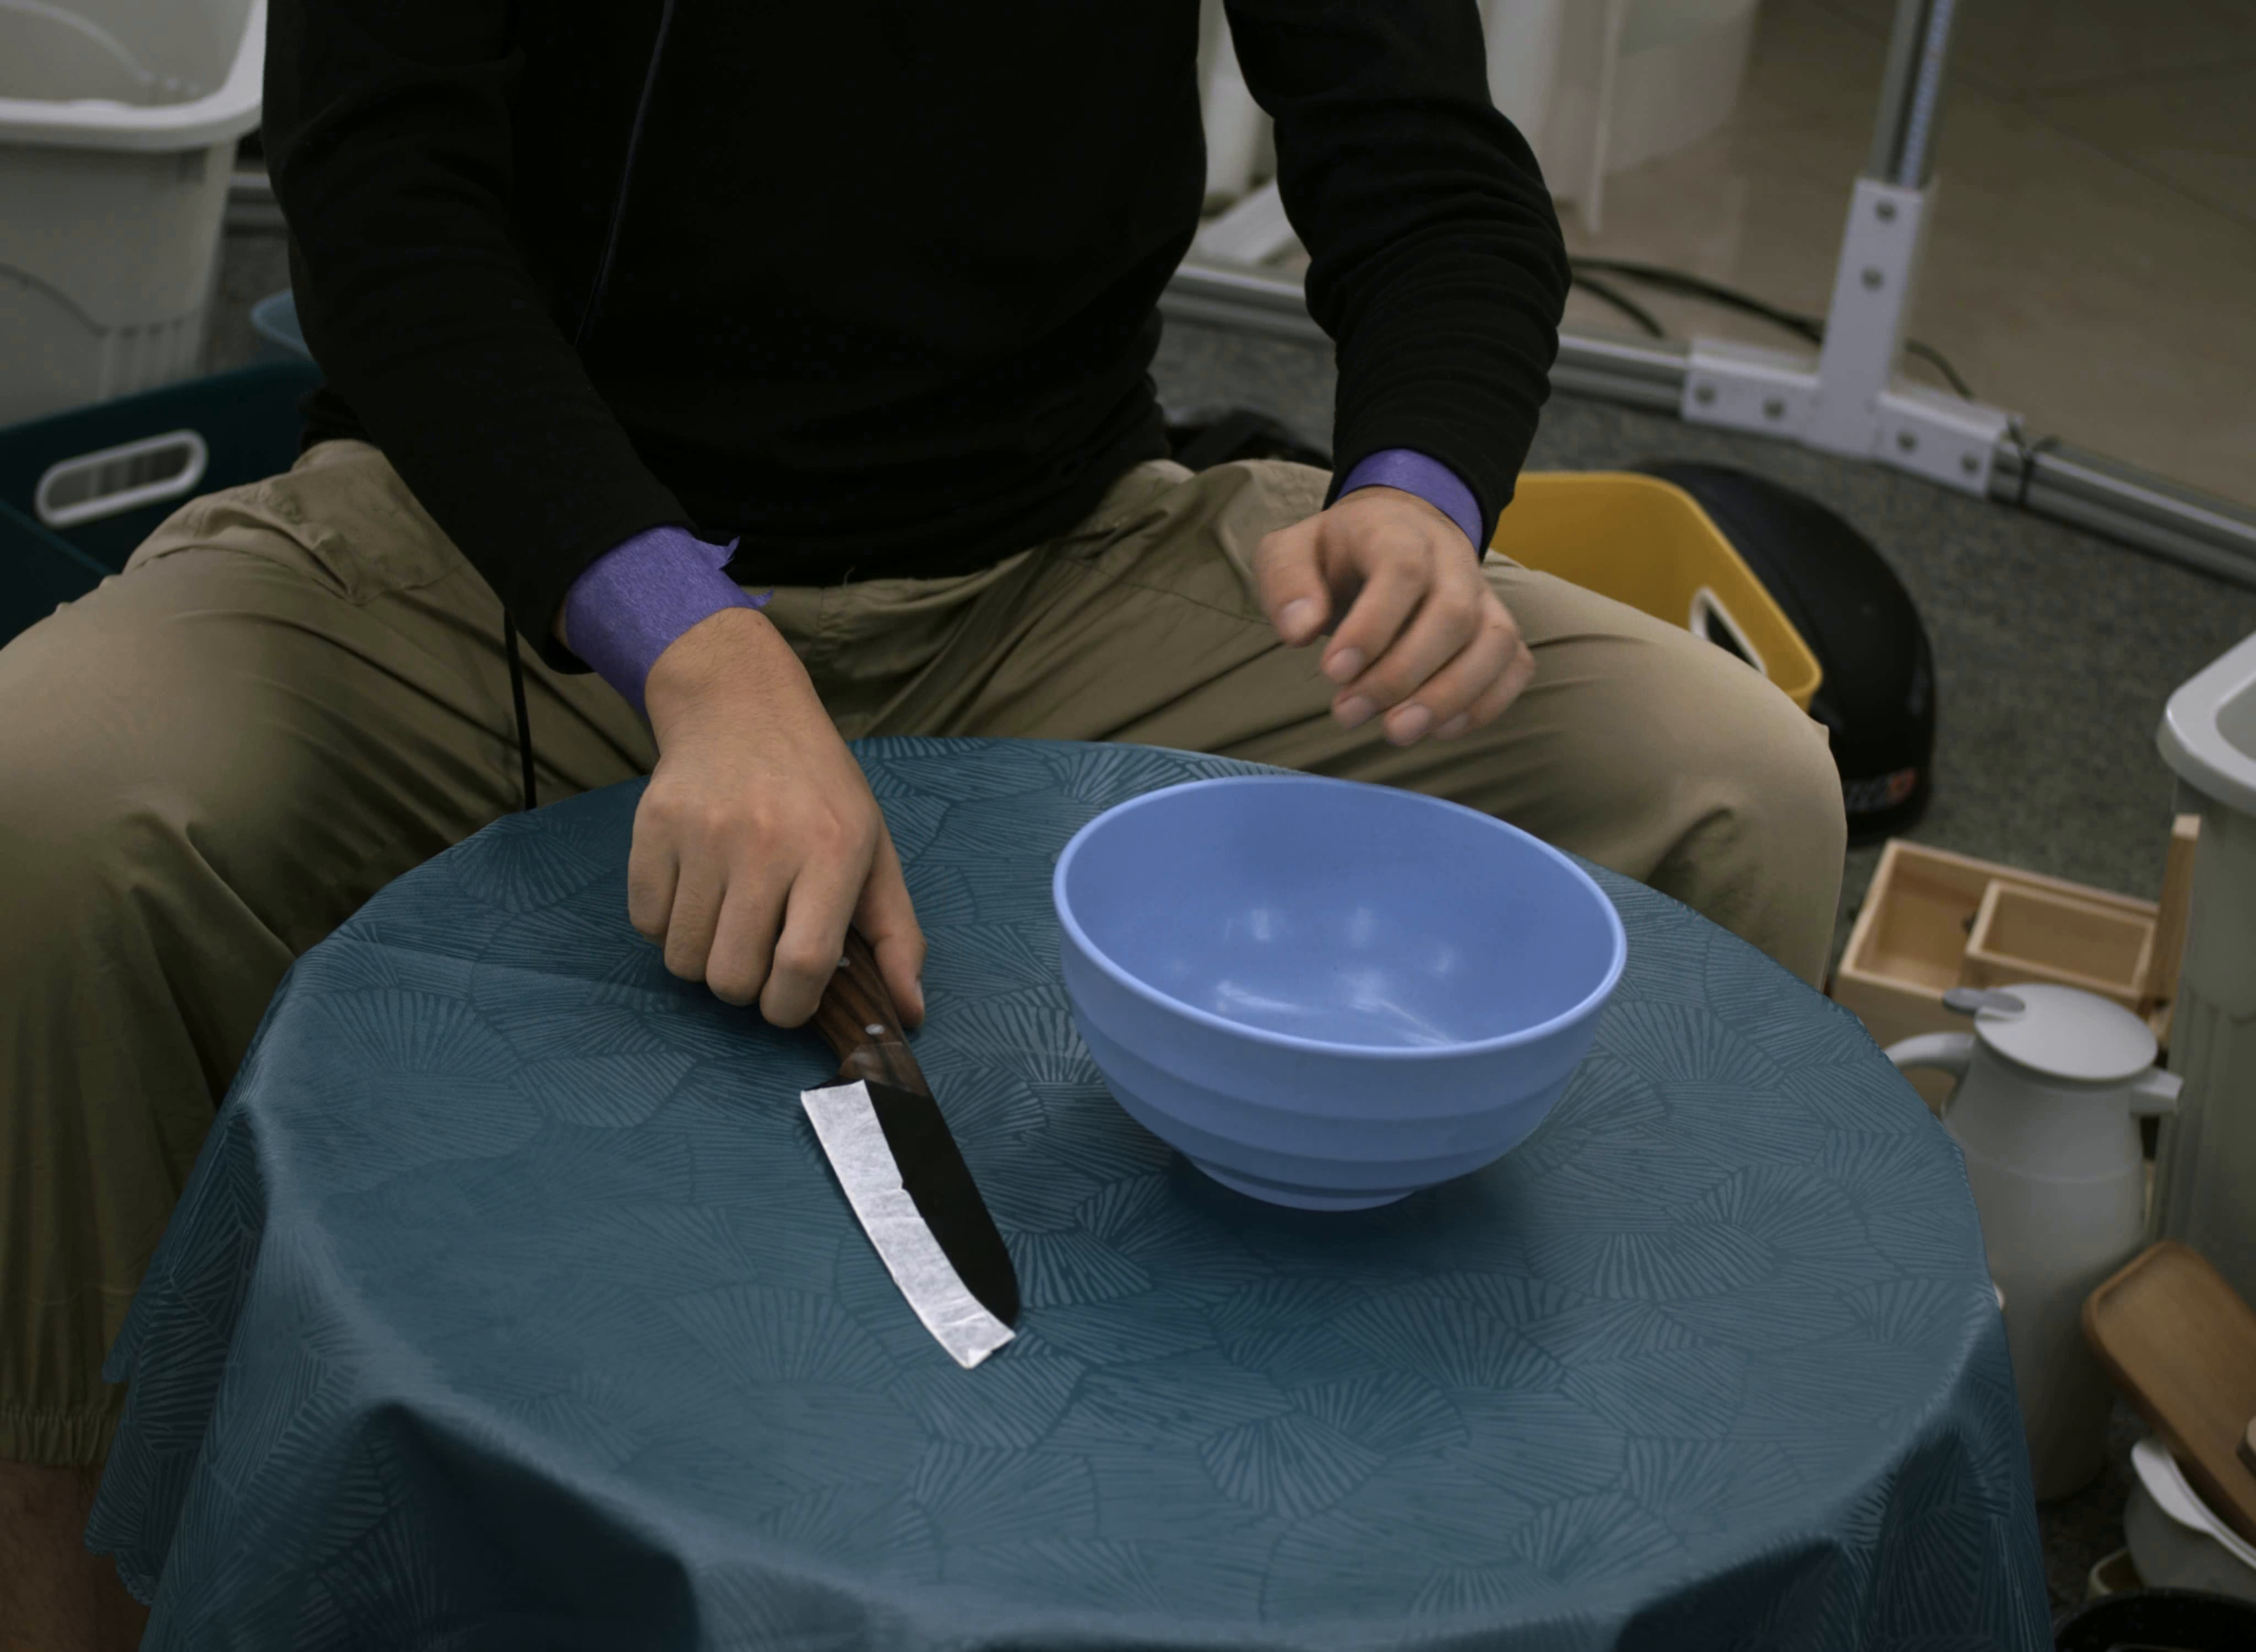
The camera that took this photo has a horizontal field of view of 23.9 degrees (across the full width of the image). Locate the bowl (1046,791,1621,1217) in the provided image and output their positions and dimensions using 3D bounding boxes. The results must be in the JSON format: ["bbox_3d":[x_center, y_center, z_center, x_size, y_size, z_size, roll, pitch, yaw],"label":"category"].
[{"bbox_3d":[0.066,0.071,1.826,0.196,0.095,0.197,4,25,-2],"label":"bowl"}]

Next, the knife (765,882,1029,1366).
[{"bbox_3d":[-0.083,0.100,1.818,0.050,0.020,0.291,-8,32,-12],"label":"knife"}]
